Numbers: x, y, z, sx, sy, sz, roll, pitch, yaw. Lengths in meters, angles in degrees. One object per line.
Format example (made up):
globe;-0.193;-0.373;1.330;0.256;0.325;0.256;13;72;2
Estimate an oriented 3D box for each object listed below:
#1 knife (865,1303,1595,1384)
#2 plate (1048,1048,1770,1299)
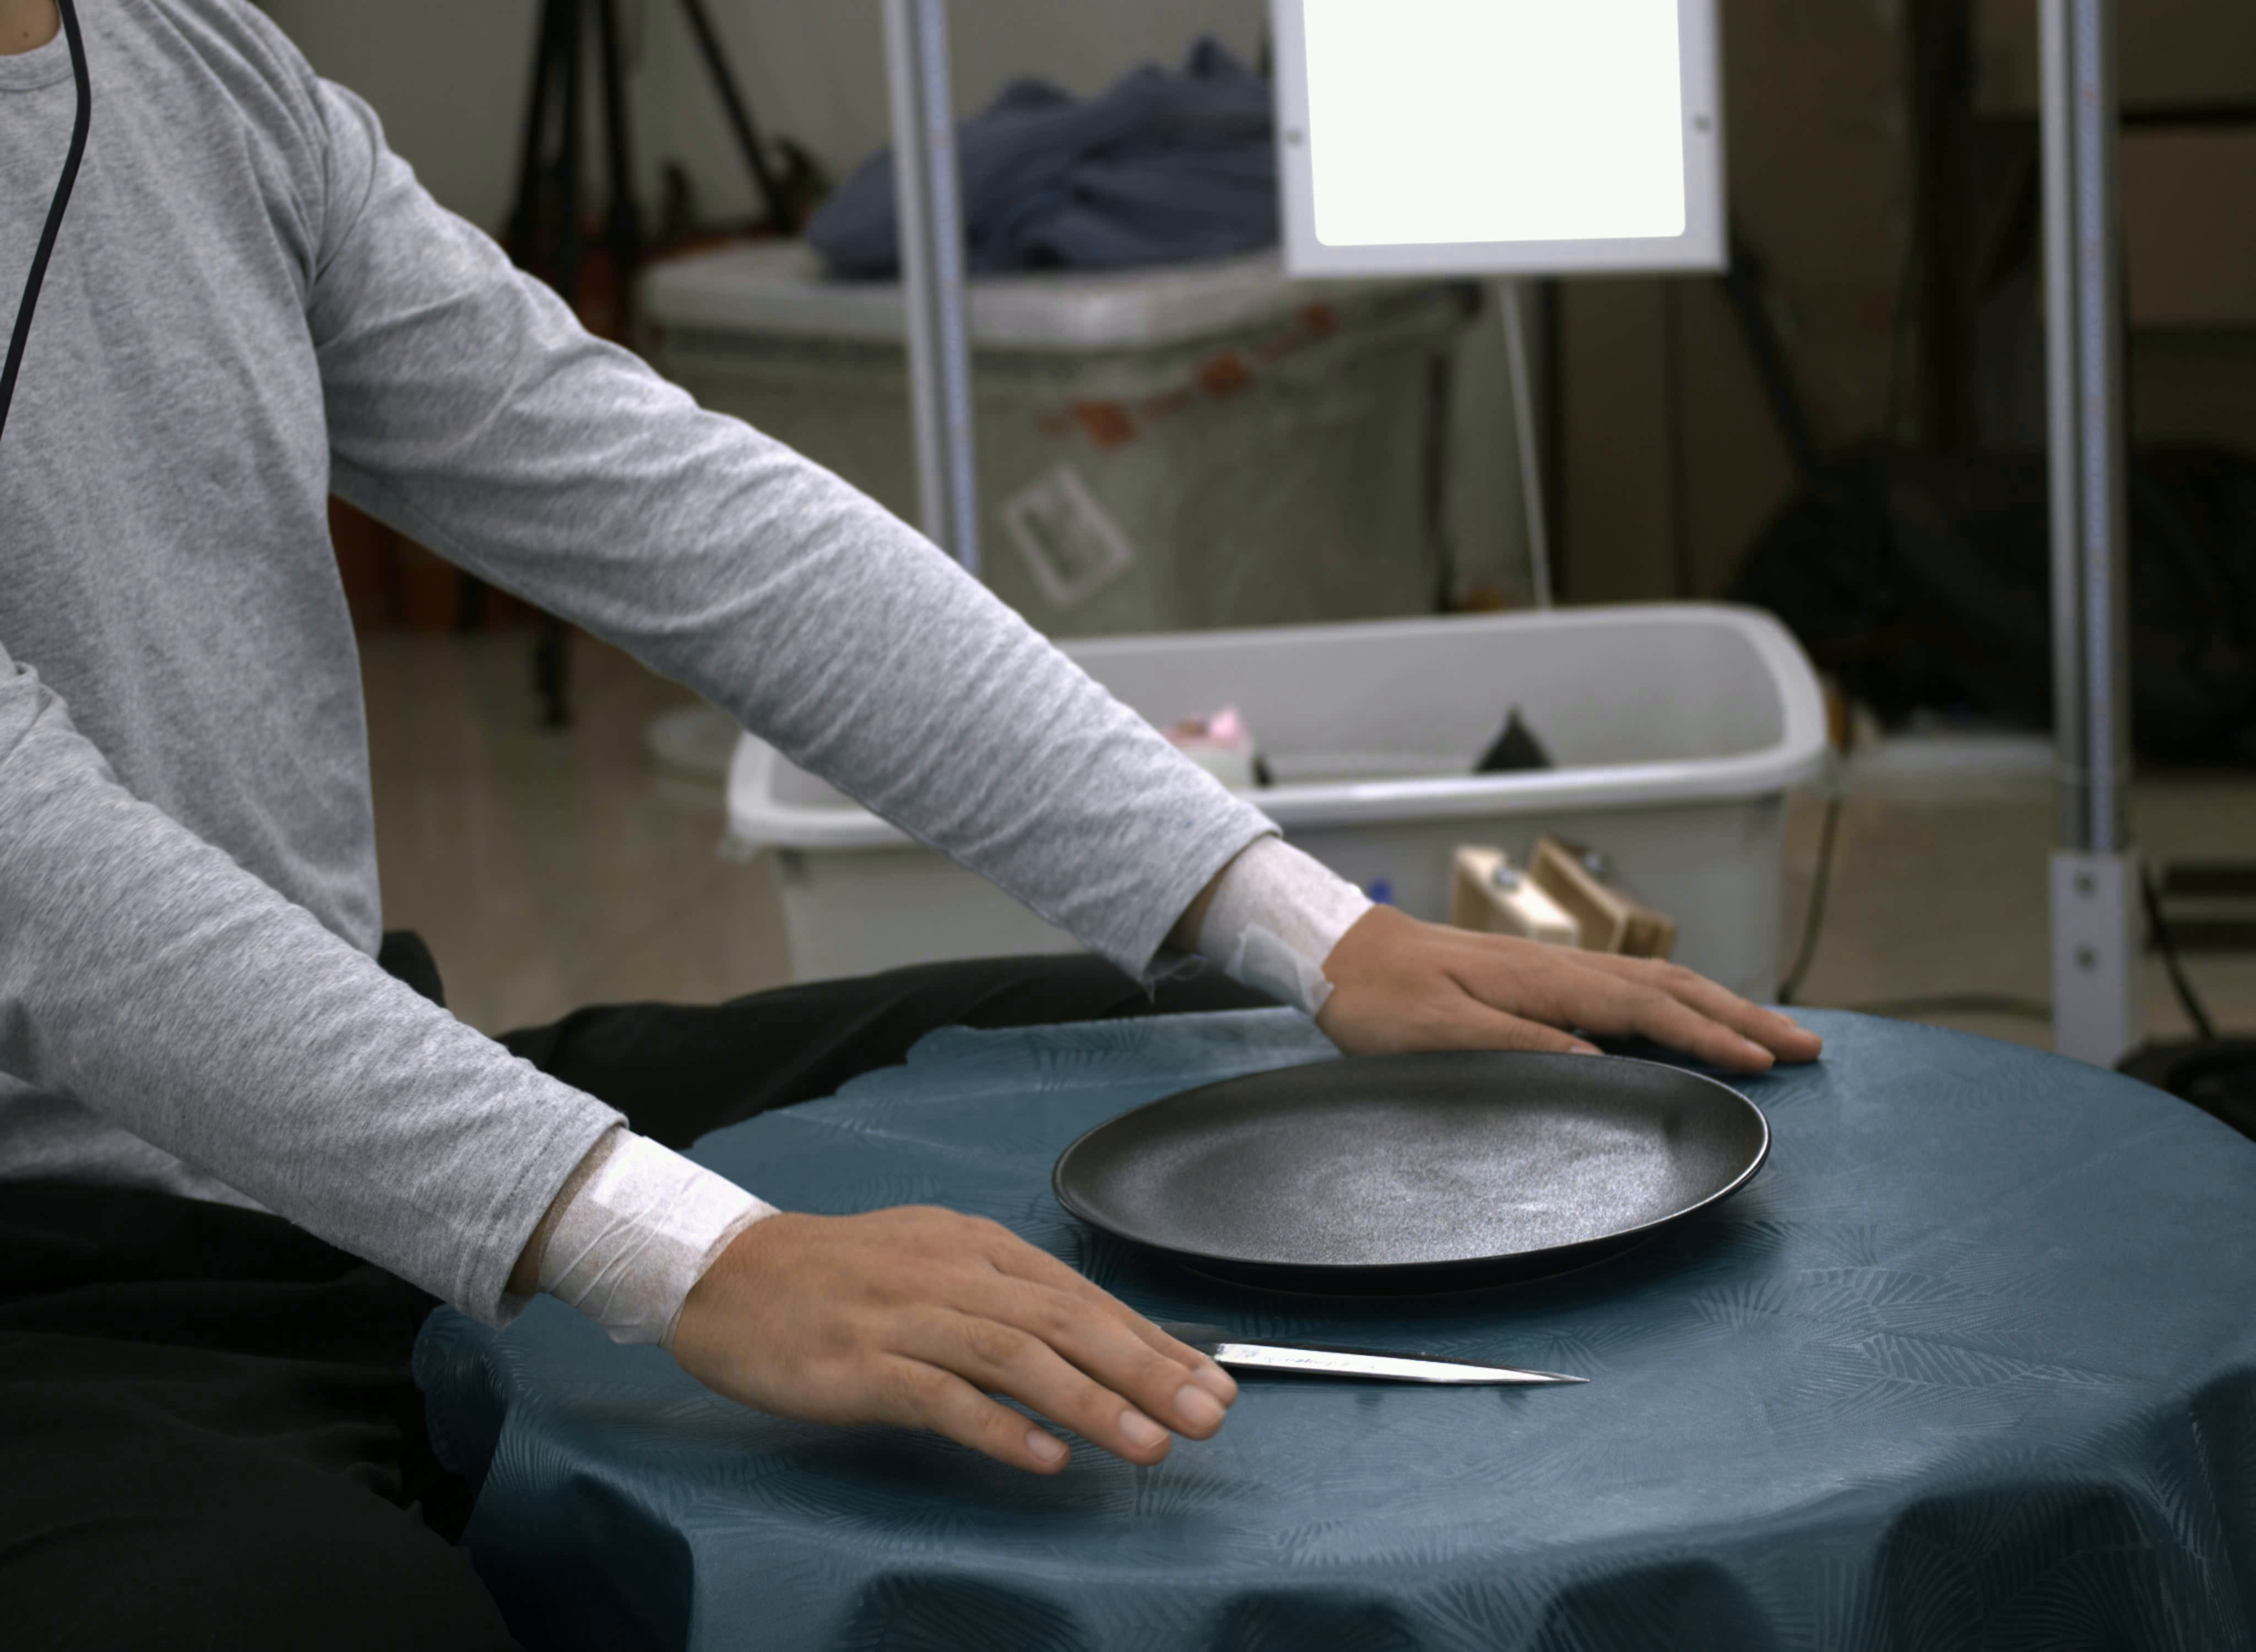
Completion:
knife;0.029;0.164;1.715;0.241;0.016;0.024;2;19;19
plate;0.095;0.119;1.851;0.244;0.023;0.244;-5;14;0
